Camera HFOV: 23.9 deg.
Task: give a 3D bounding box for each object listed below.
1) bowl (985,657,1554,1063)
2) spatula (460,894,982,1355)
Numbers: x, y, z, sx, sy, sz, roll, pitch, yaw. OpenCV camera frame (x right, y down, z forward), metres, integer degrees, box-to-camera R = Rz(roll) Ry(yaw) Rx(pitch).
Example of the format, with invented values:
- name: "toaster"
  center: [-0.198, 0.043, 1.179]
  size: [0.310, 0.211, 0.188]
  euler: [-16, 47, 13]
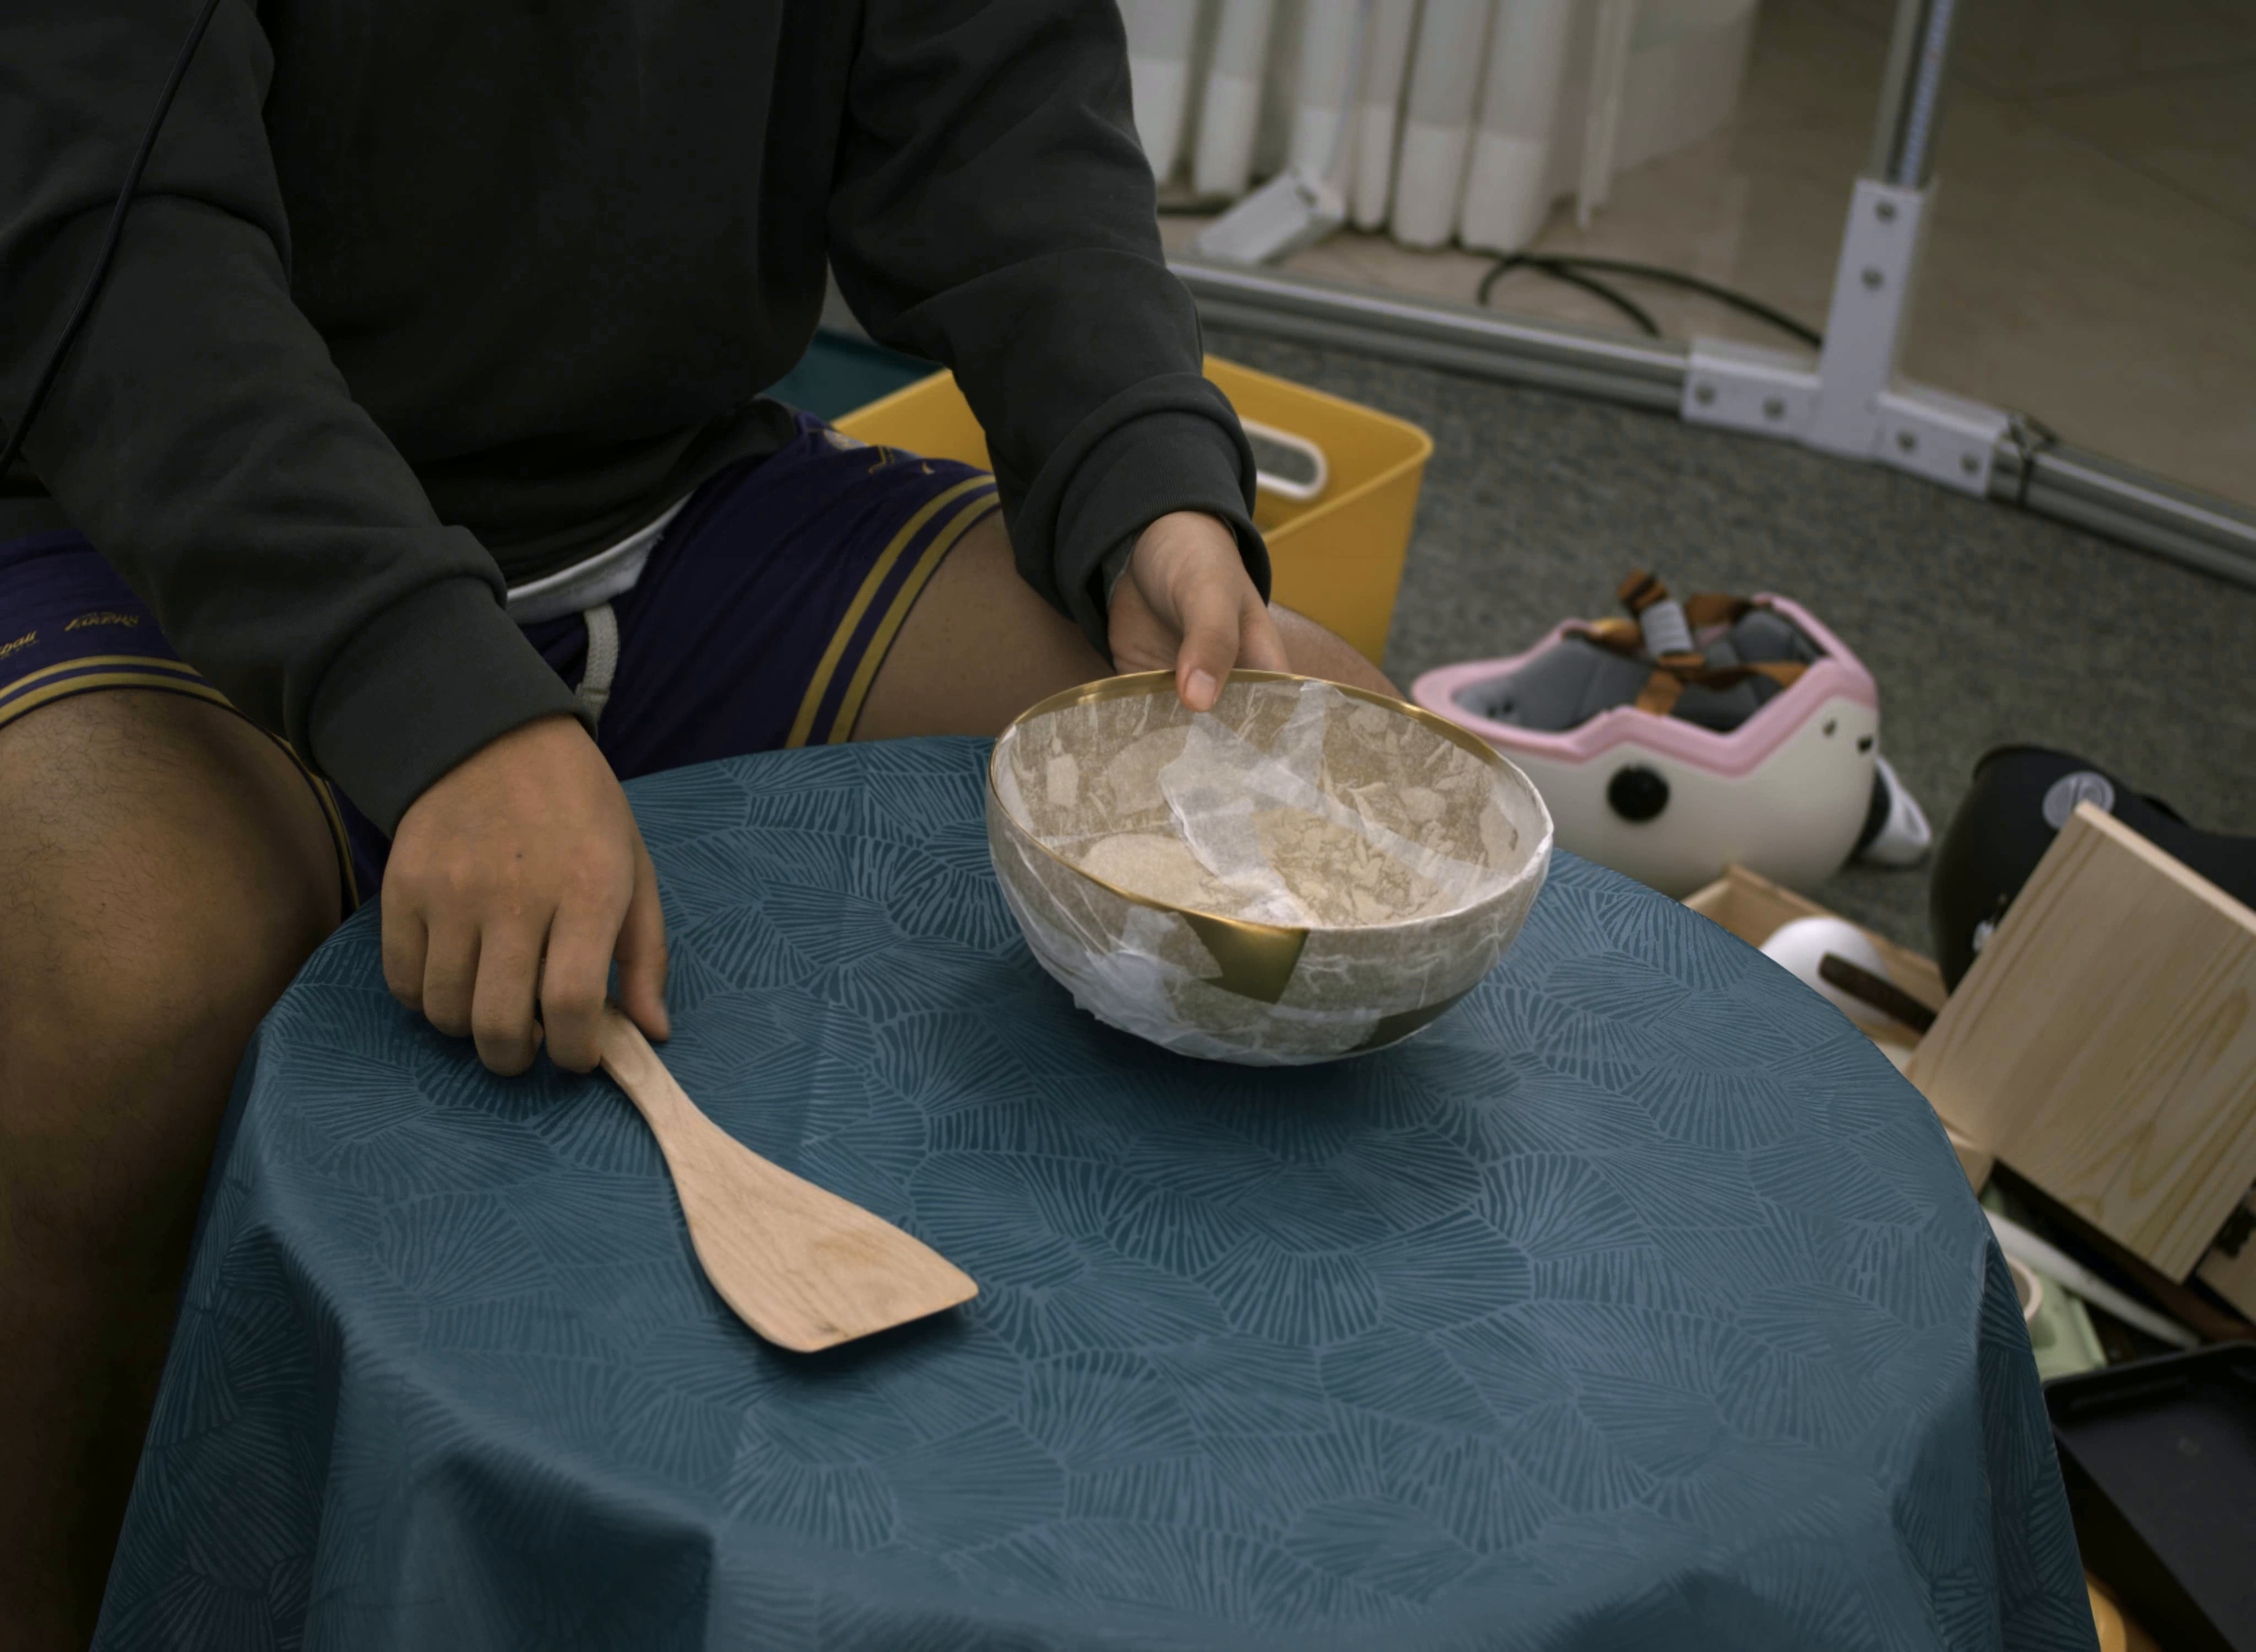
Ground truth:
- name: "bowl"
  center: [0.044, 0.023, 1.903]
  size: [0.214, 0.094, 0.216]
  euler: [5, 28, -3]
- name: "spatula"
  center: [-0.153, 0.095, 1.806]
  size: [0.079, 0.016, 0.330]
  euler: [-10, 31, -28]
